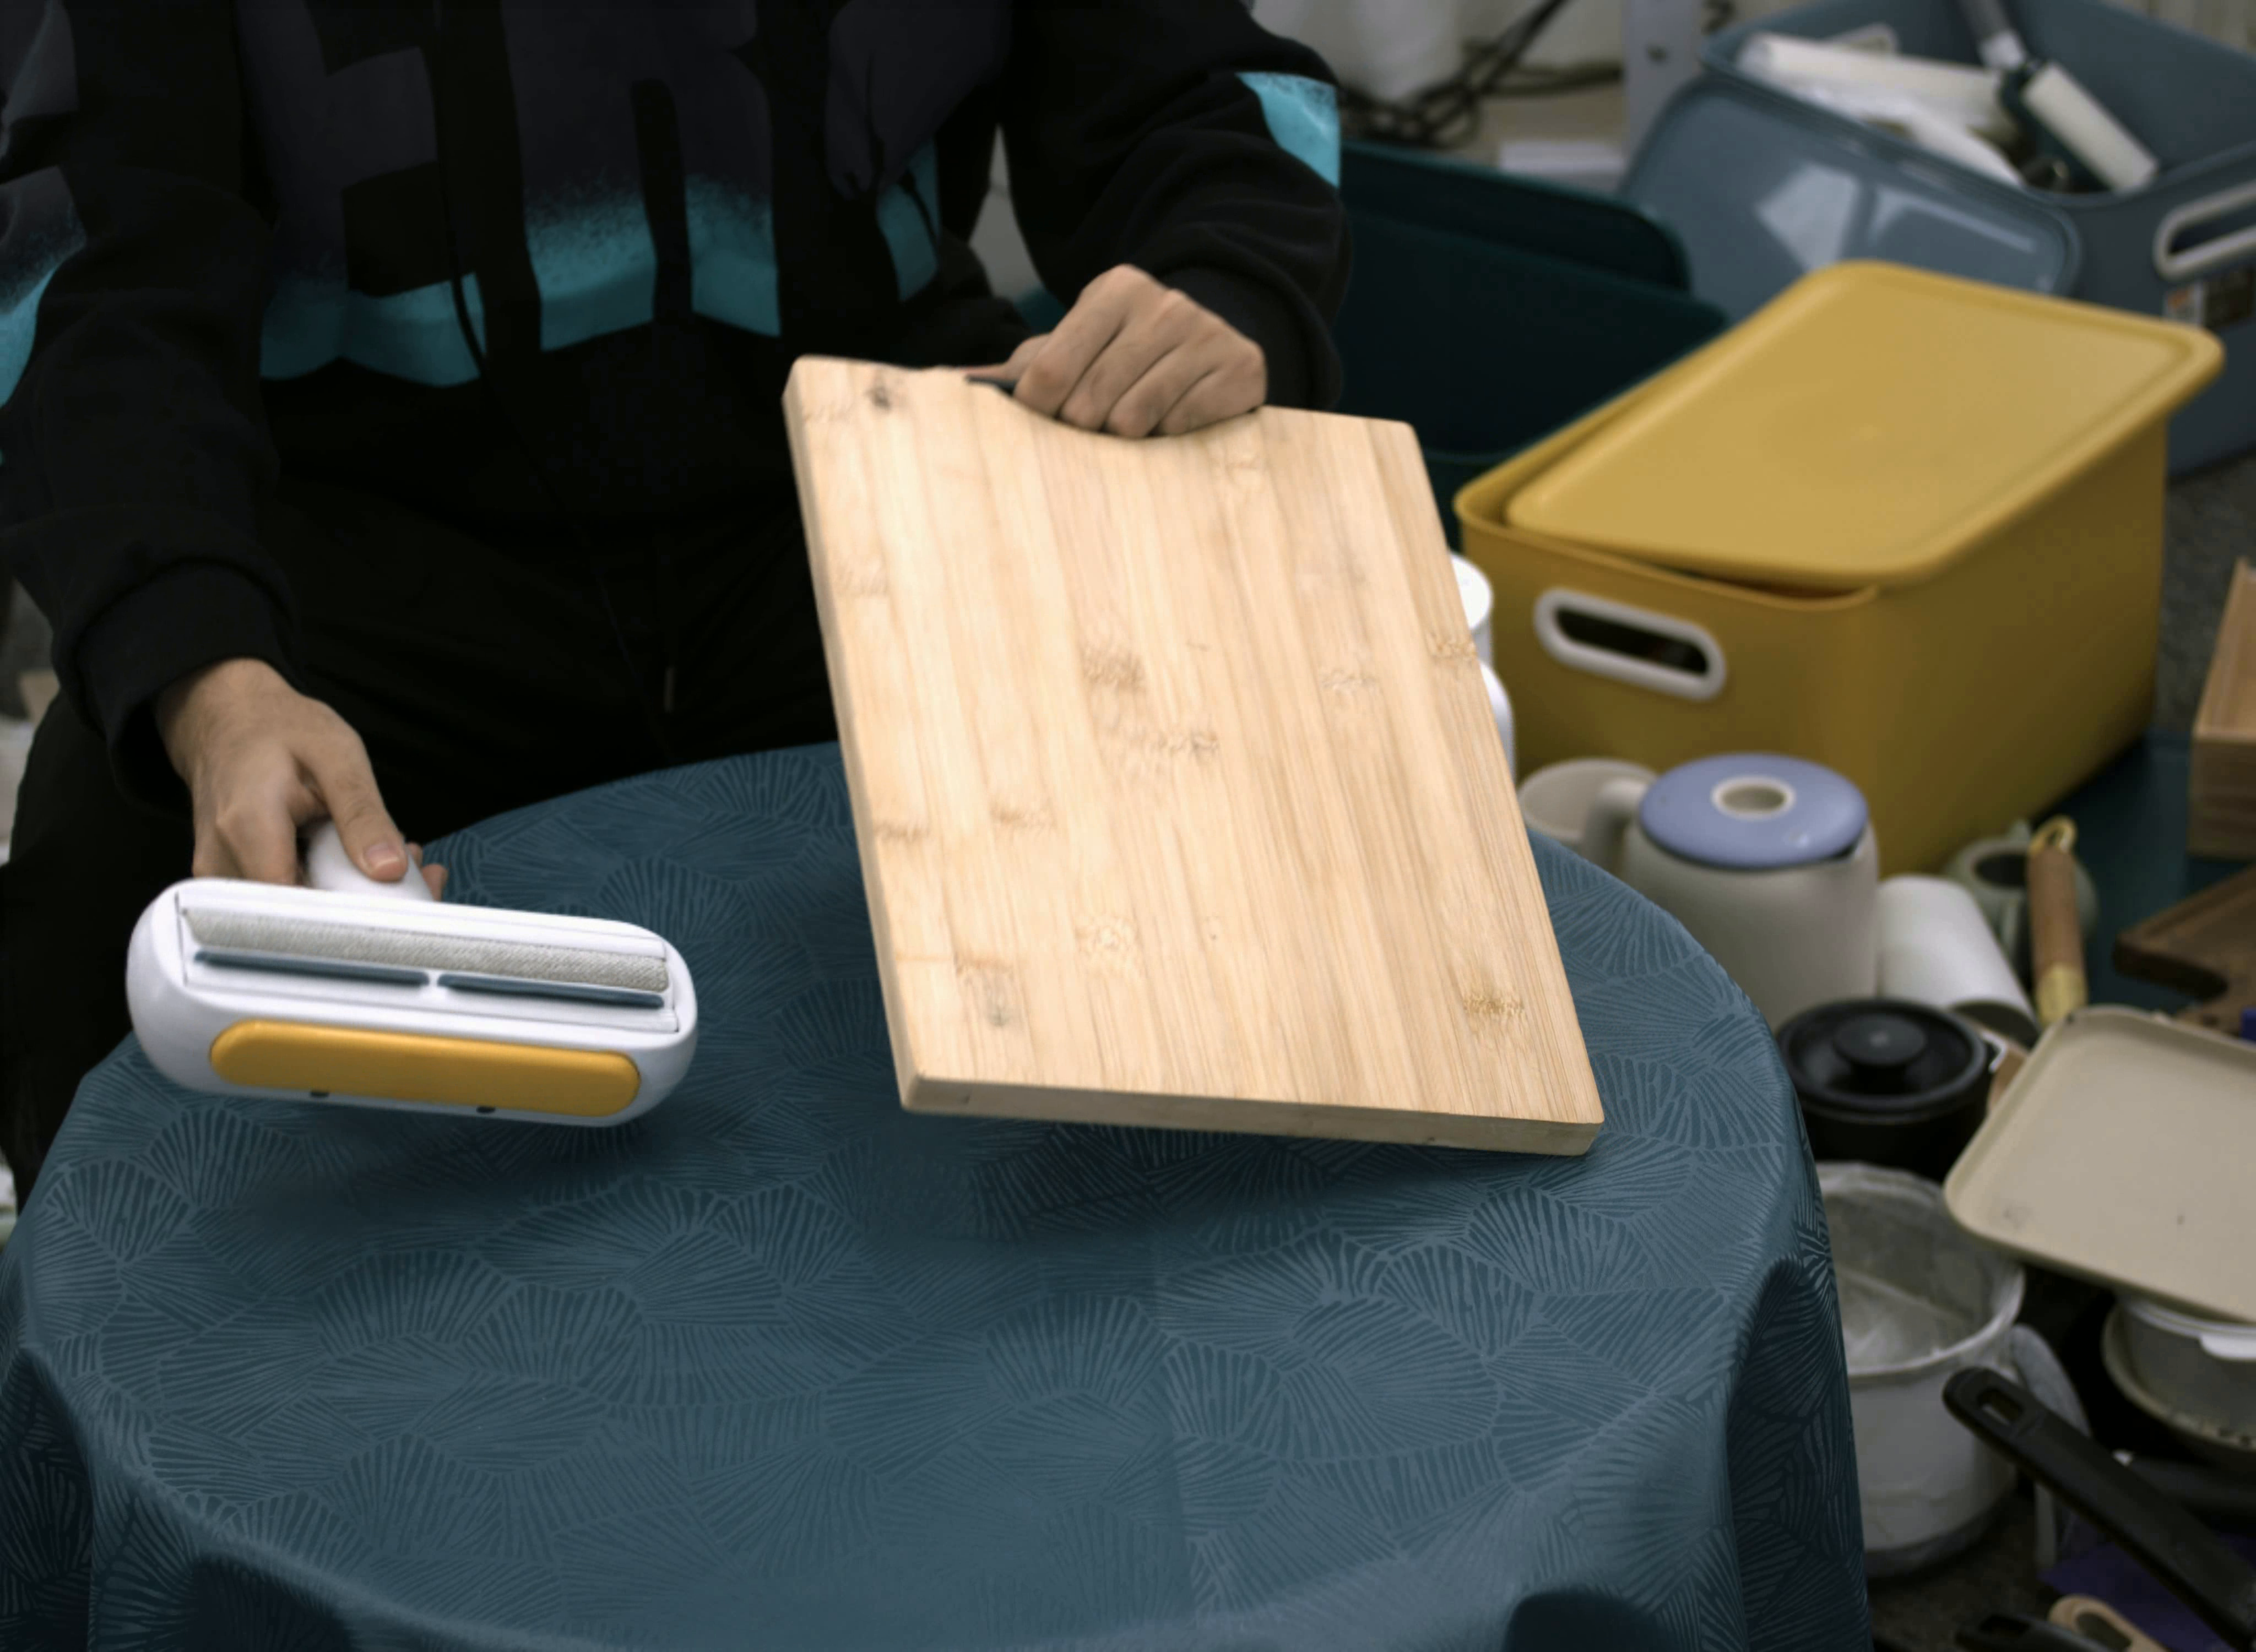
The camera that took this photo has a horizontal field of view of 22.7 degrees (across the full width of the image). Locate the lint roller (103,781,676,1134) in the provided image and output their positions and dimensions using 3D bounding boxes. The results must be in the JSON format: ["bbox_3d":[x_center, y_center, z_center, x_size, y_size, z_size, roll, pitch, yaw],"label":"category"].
[{"bbox_3d":[-0.257,0.030,1.912,0.192,0.073,0.195,7,32,-18],"label":"lint roller"}]

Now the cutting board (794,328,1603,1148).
[{"bbox_3d":[0.018,-0.035,1.946,0.250,0.023,0.355,6,45,-19],"label":"cutting board"}]
